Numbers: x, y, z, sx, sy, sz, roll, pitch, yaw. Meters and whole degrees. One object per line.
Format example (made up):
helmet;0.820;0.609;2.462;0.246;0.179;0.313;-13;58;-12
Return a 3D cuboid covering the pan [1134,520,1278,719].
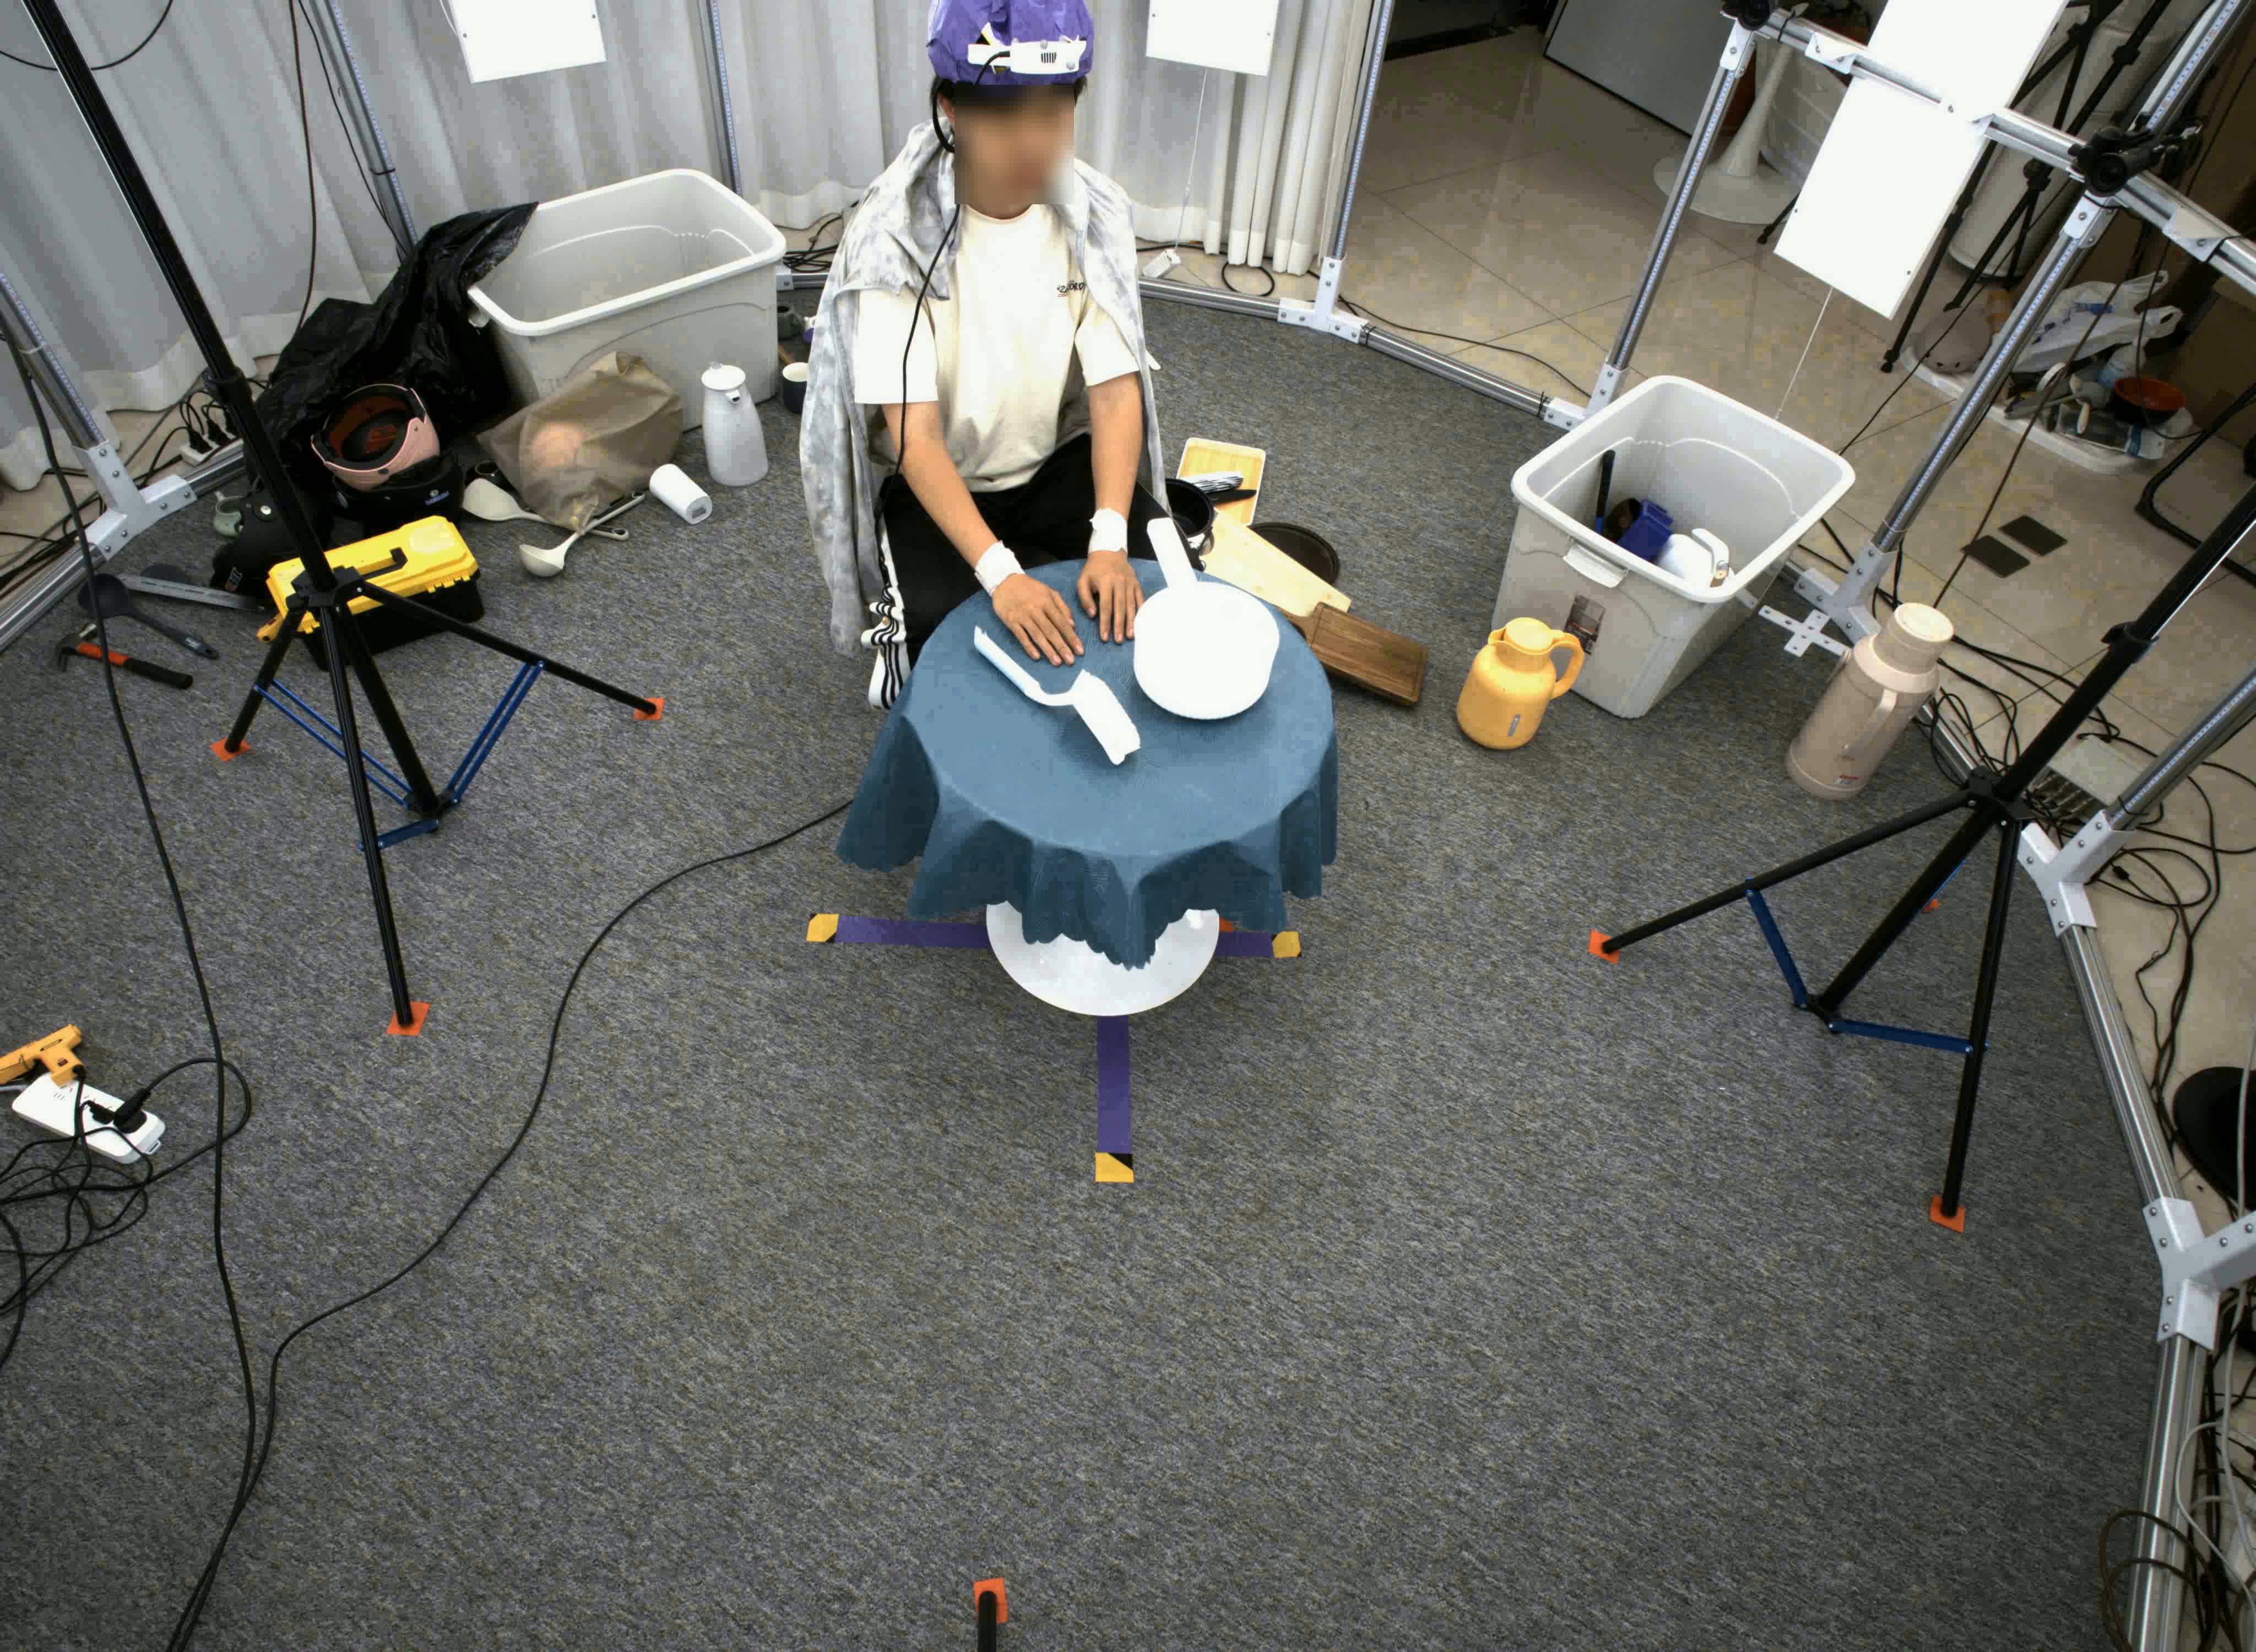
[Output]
pan;0.088;-0.300;1.865;0.201;0.099;0.364;-9;49;-11

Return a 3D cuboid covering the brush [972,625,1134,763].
brush;-0.100;-0.212;1.786;0.085;0.081;0.331;-33;59;-23
